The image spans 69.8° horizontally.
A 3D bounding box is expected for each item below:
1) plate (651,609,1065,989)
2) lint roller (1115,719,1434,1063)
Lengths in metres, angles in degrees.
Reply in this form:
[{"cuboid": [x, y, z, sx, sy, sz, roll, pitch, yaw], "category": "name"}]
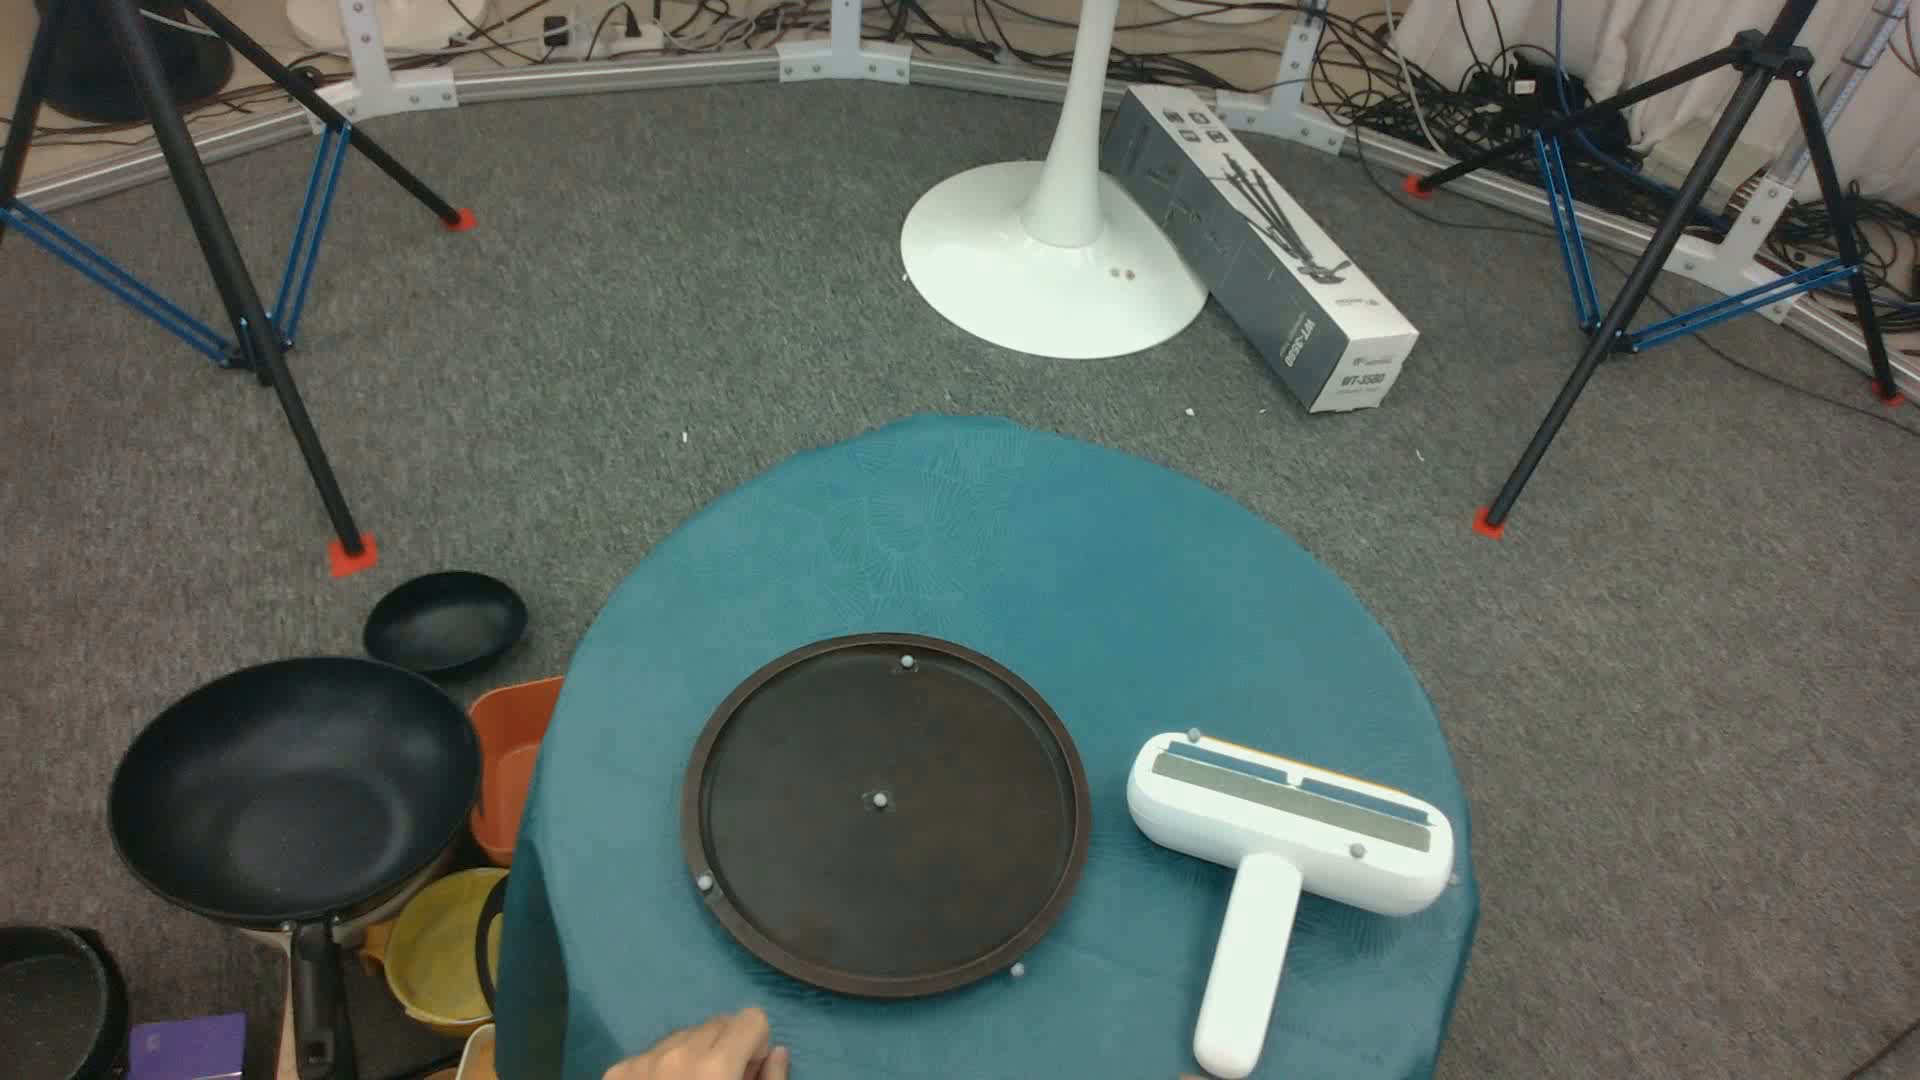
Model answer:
[{"cuboid": [-0.061, 0.154, 0.848, 0.255, 0.029, 0.256, 4, 50, -5], "category": "plate"}, {"cuboid": [0.164, 0.209, 0.808, 0.193, 0.074, 0.193, 20, 51, 15], "category": "lint roller"}]
